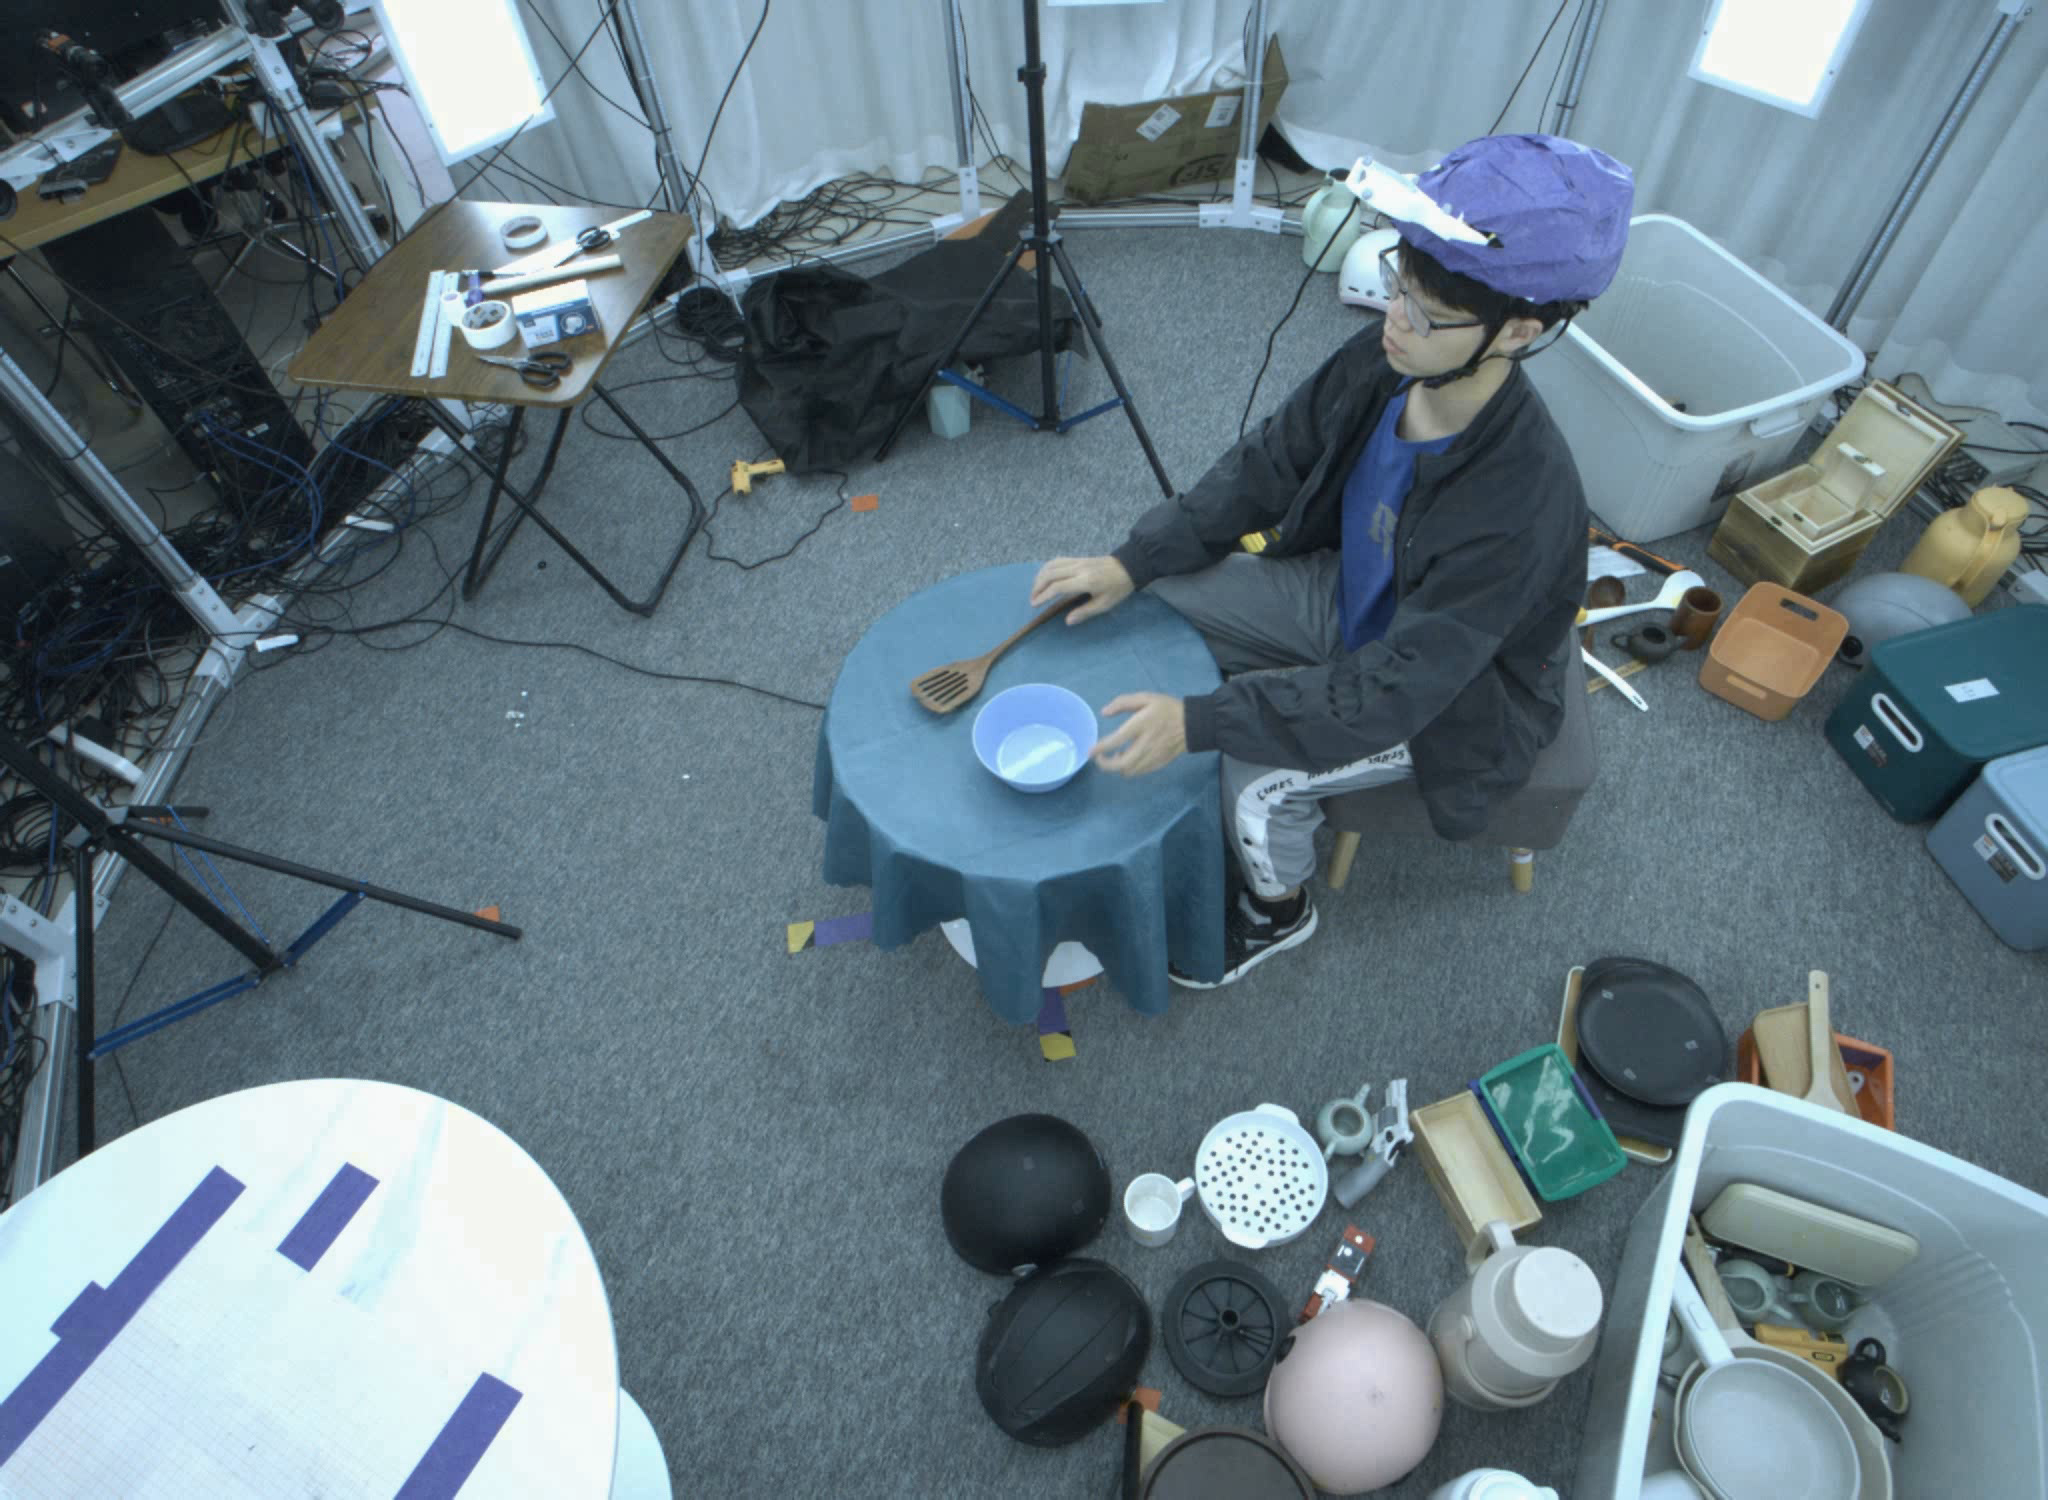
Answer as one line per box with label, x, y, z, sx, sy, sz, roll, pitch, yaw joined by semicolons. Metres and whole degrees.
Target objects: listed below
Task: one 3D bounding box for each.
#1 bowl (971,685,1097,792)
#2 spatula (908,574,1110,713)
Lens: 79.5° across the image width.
bowl;0.015;-0.006;1.738;0.176;0.071;0.174;0;54;1
spatula;-0.011;-0.172;1.889;0.390;0.024;0.084;-36;62;-23
